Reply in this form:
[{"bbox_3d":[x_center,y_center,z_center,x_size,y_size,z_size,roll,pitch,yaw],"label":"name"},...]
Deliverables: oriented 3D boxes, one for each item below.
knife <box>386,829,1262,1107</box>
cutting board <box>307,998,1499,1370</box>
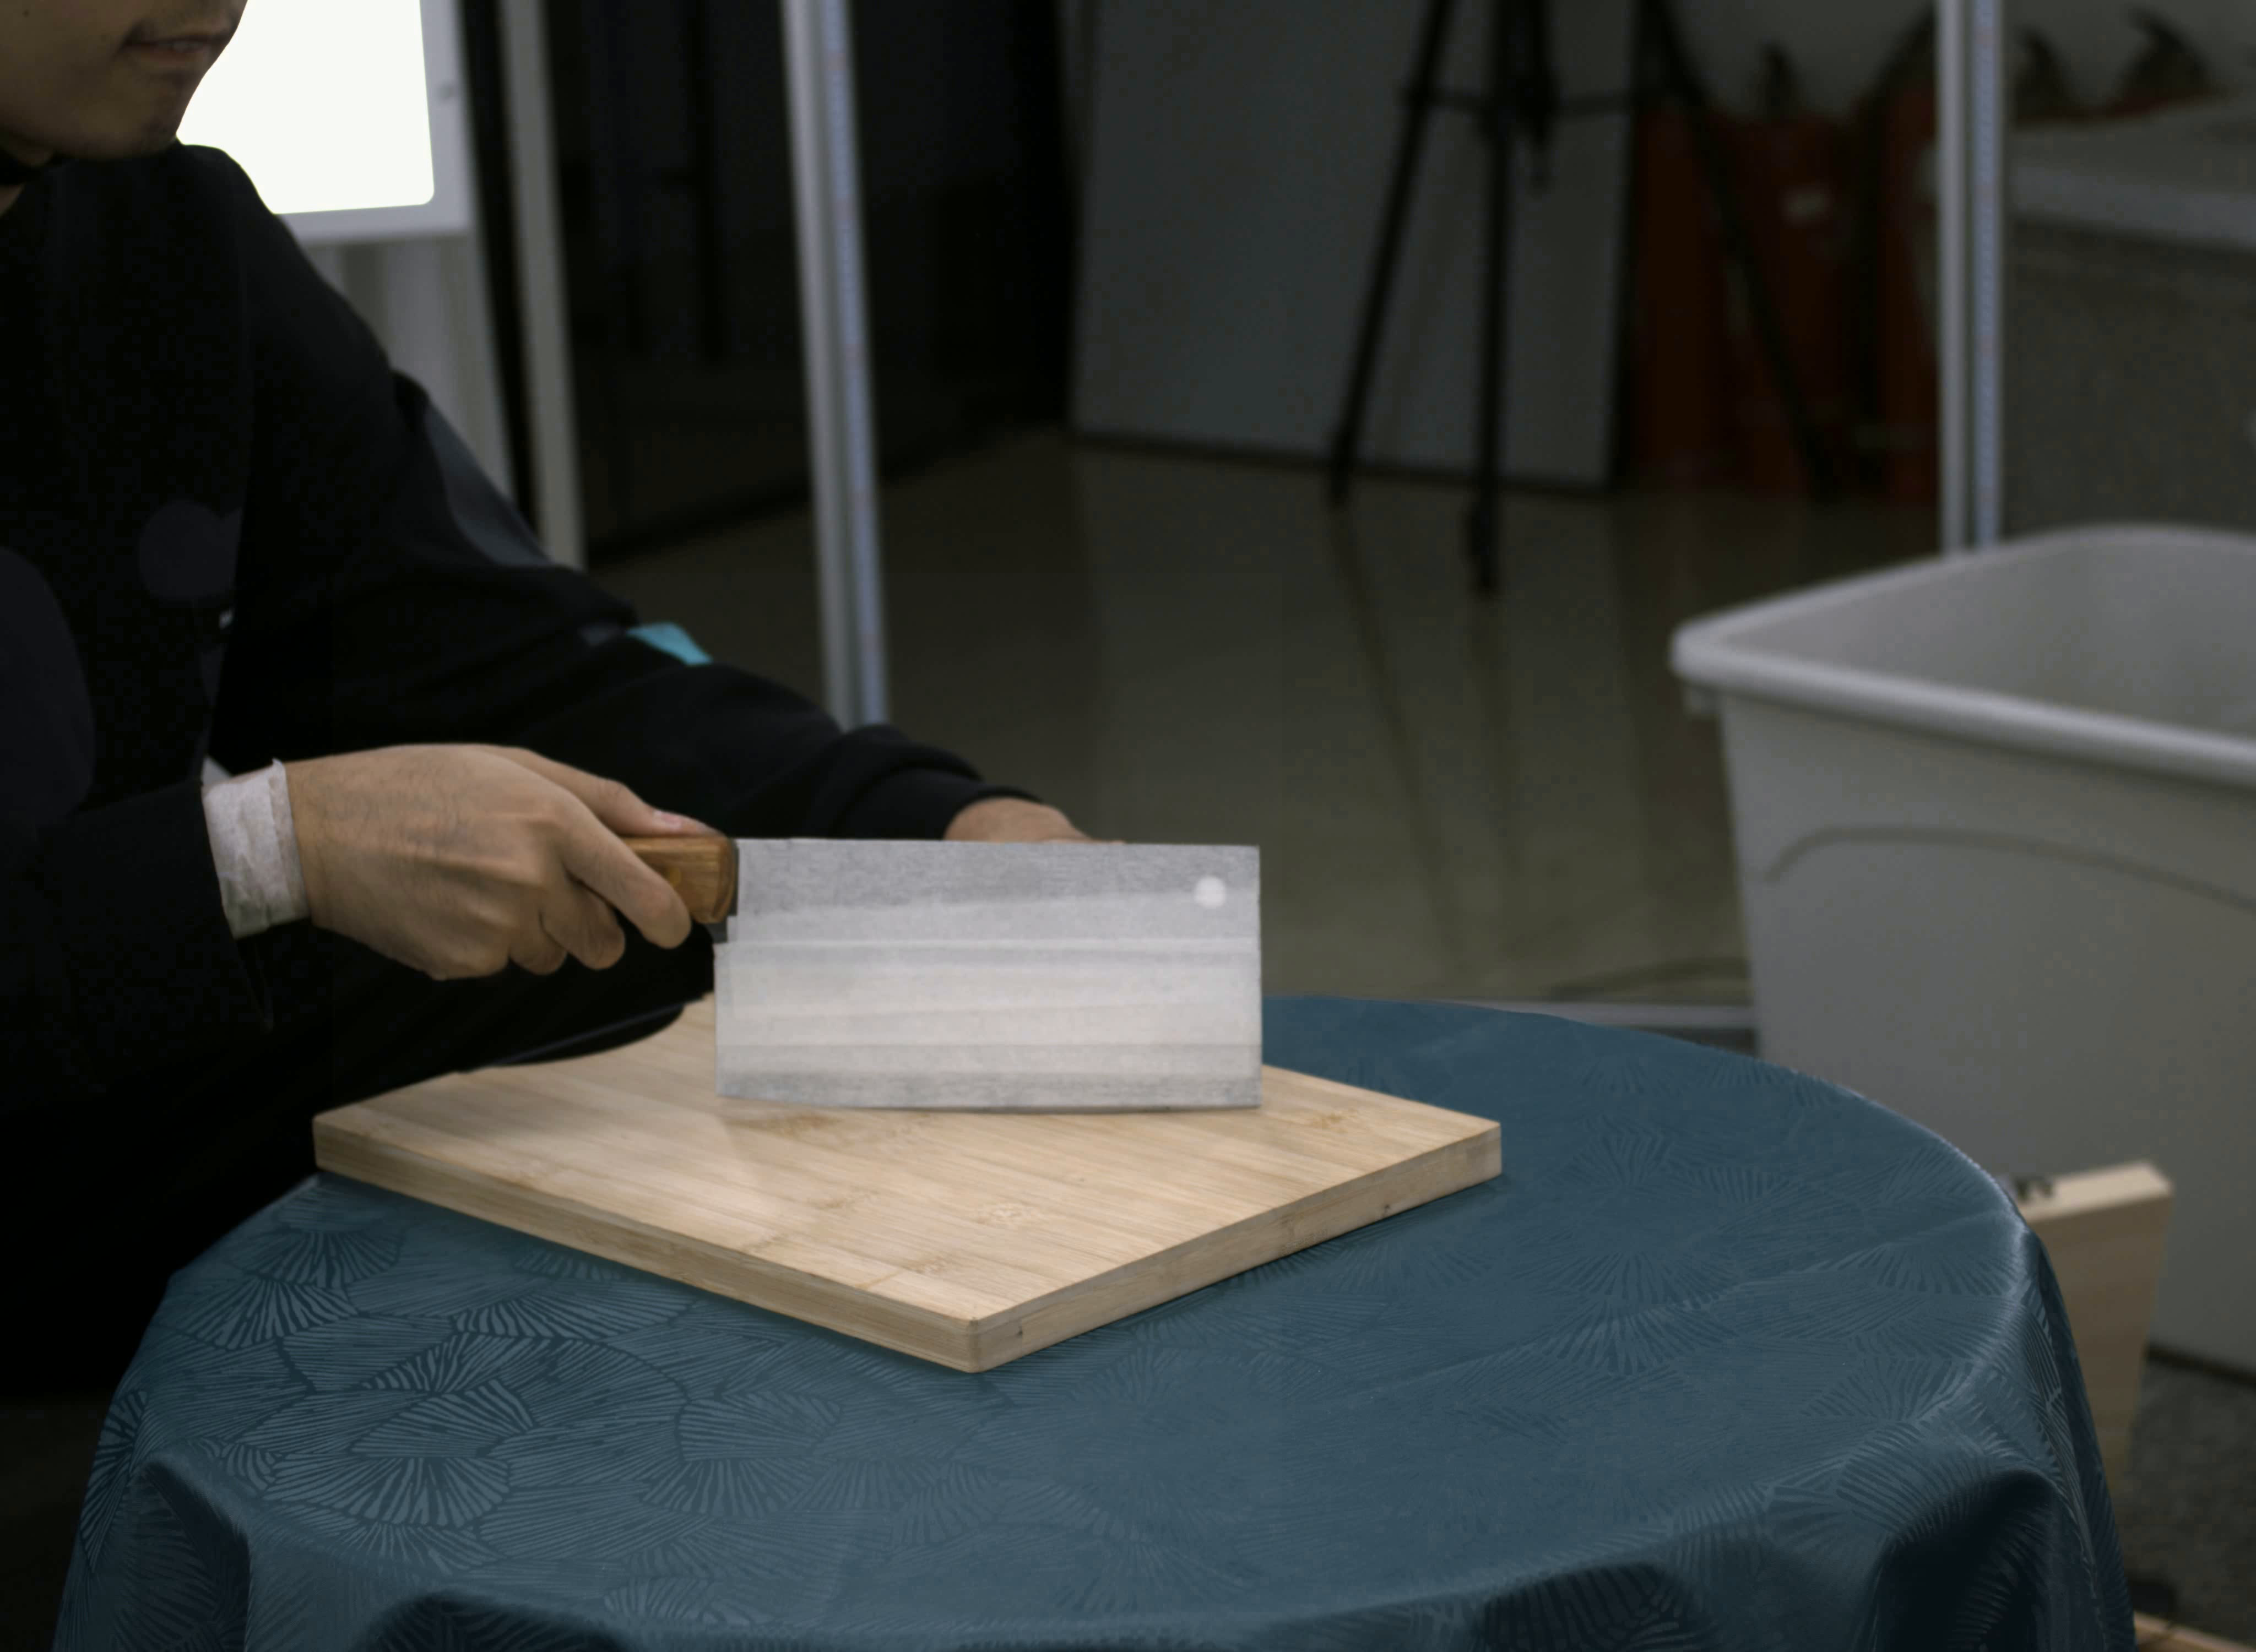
[{"bbox_3d":[-0.103,0.048,1.811,0.304,0.094,0.021,0,7,14],"label":"knife"},{"bbox_3d":[-0.080,0.108,1.811,0.245,0.024,0.352,-17,19,-41],"label":"cutting board"}]
